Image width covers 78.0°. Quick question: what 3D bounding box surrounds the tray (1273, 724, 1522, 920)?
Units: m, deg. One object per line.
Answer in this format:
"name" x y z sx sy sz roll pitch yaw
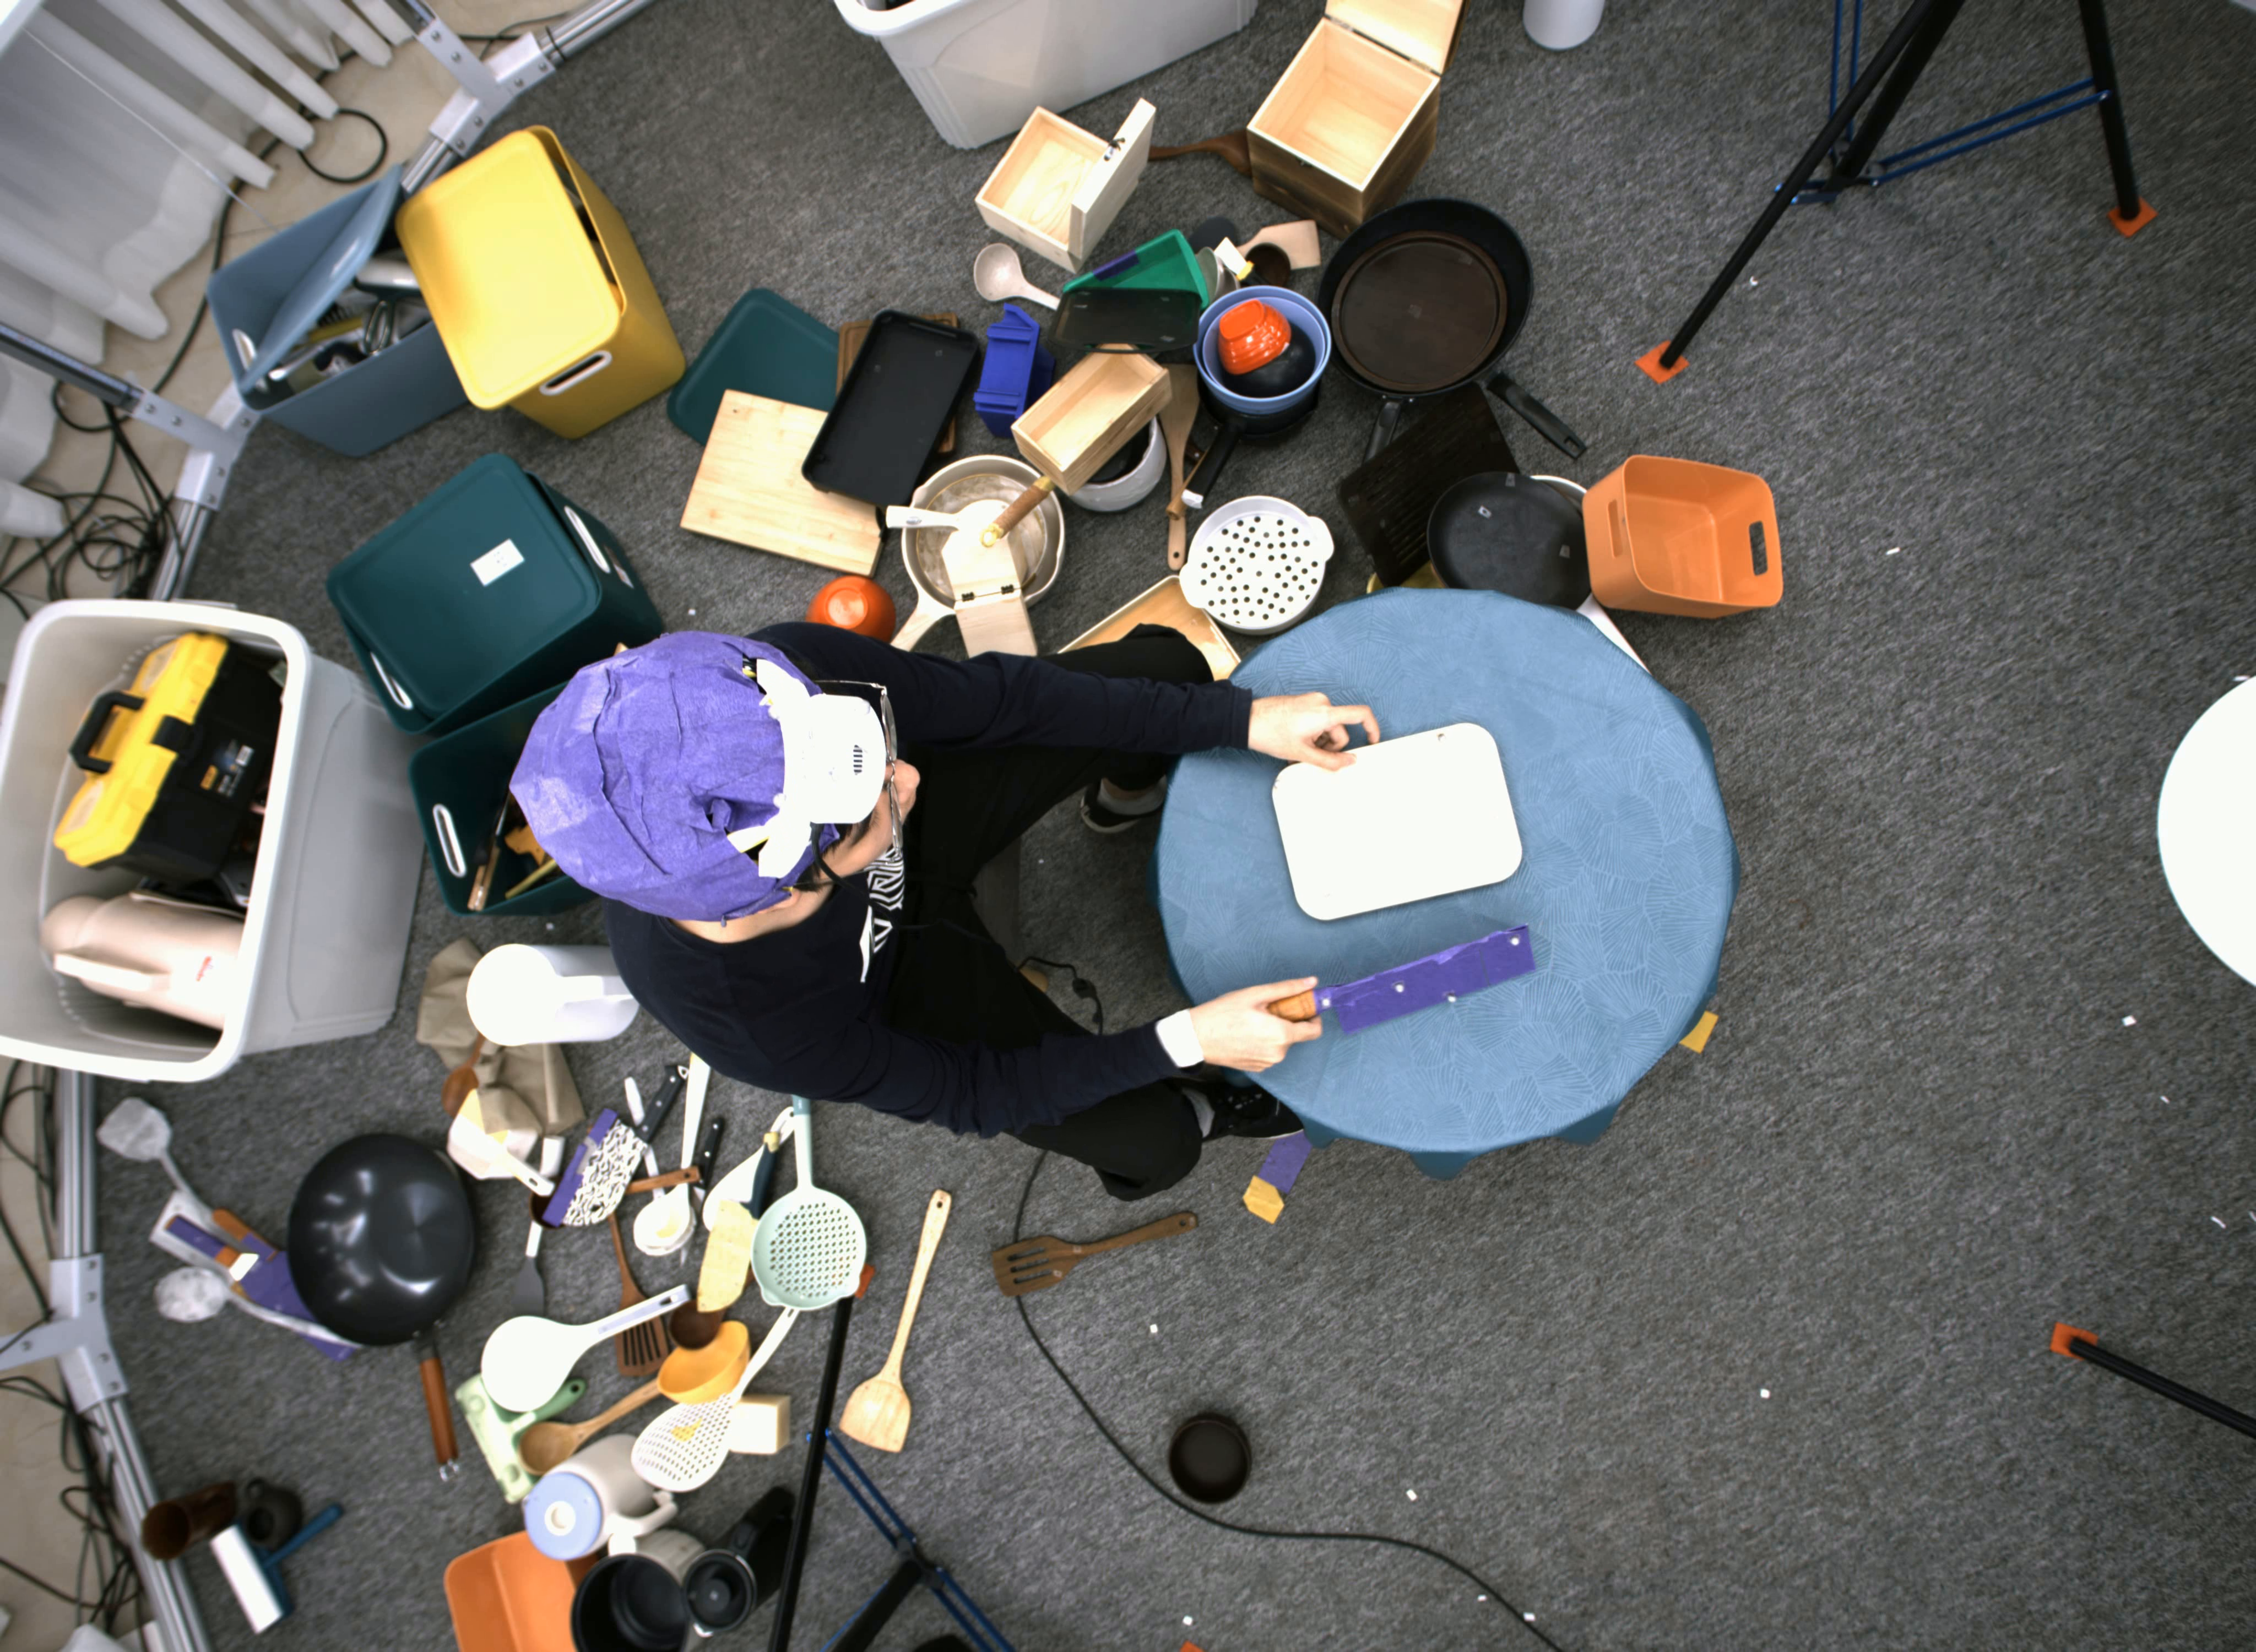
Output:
"tray" 0.282 -0.005 1.450 0.241 0.017 0.170 -13 87 9

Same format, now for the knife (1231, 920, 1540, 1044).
"knife" 0.265 0.174 1.401 0.317 0.106 0.031 -19 47 9
